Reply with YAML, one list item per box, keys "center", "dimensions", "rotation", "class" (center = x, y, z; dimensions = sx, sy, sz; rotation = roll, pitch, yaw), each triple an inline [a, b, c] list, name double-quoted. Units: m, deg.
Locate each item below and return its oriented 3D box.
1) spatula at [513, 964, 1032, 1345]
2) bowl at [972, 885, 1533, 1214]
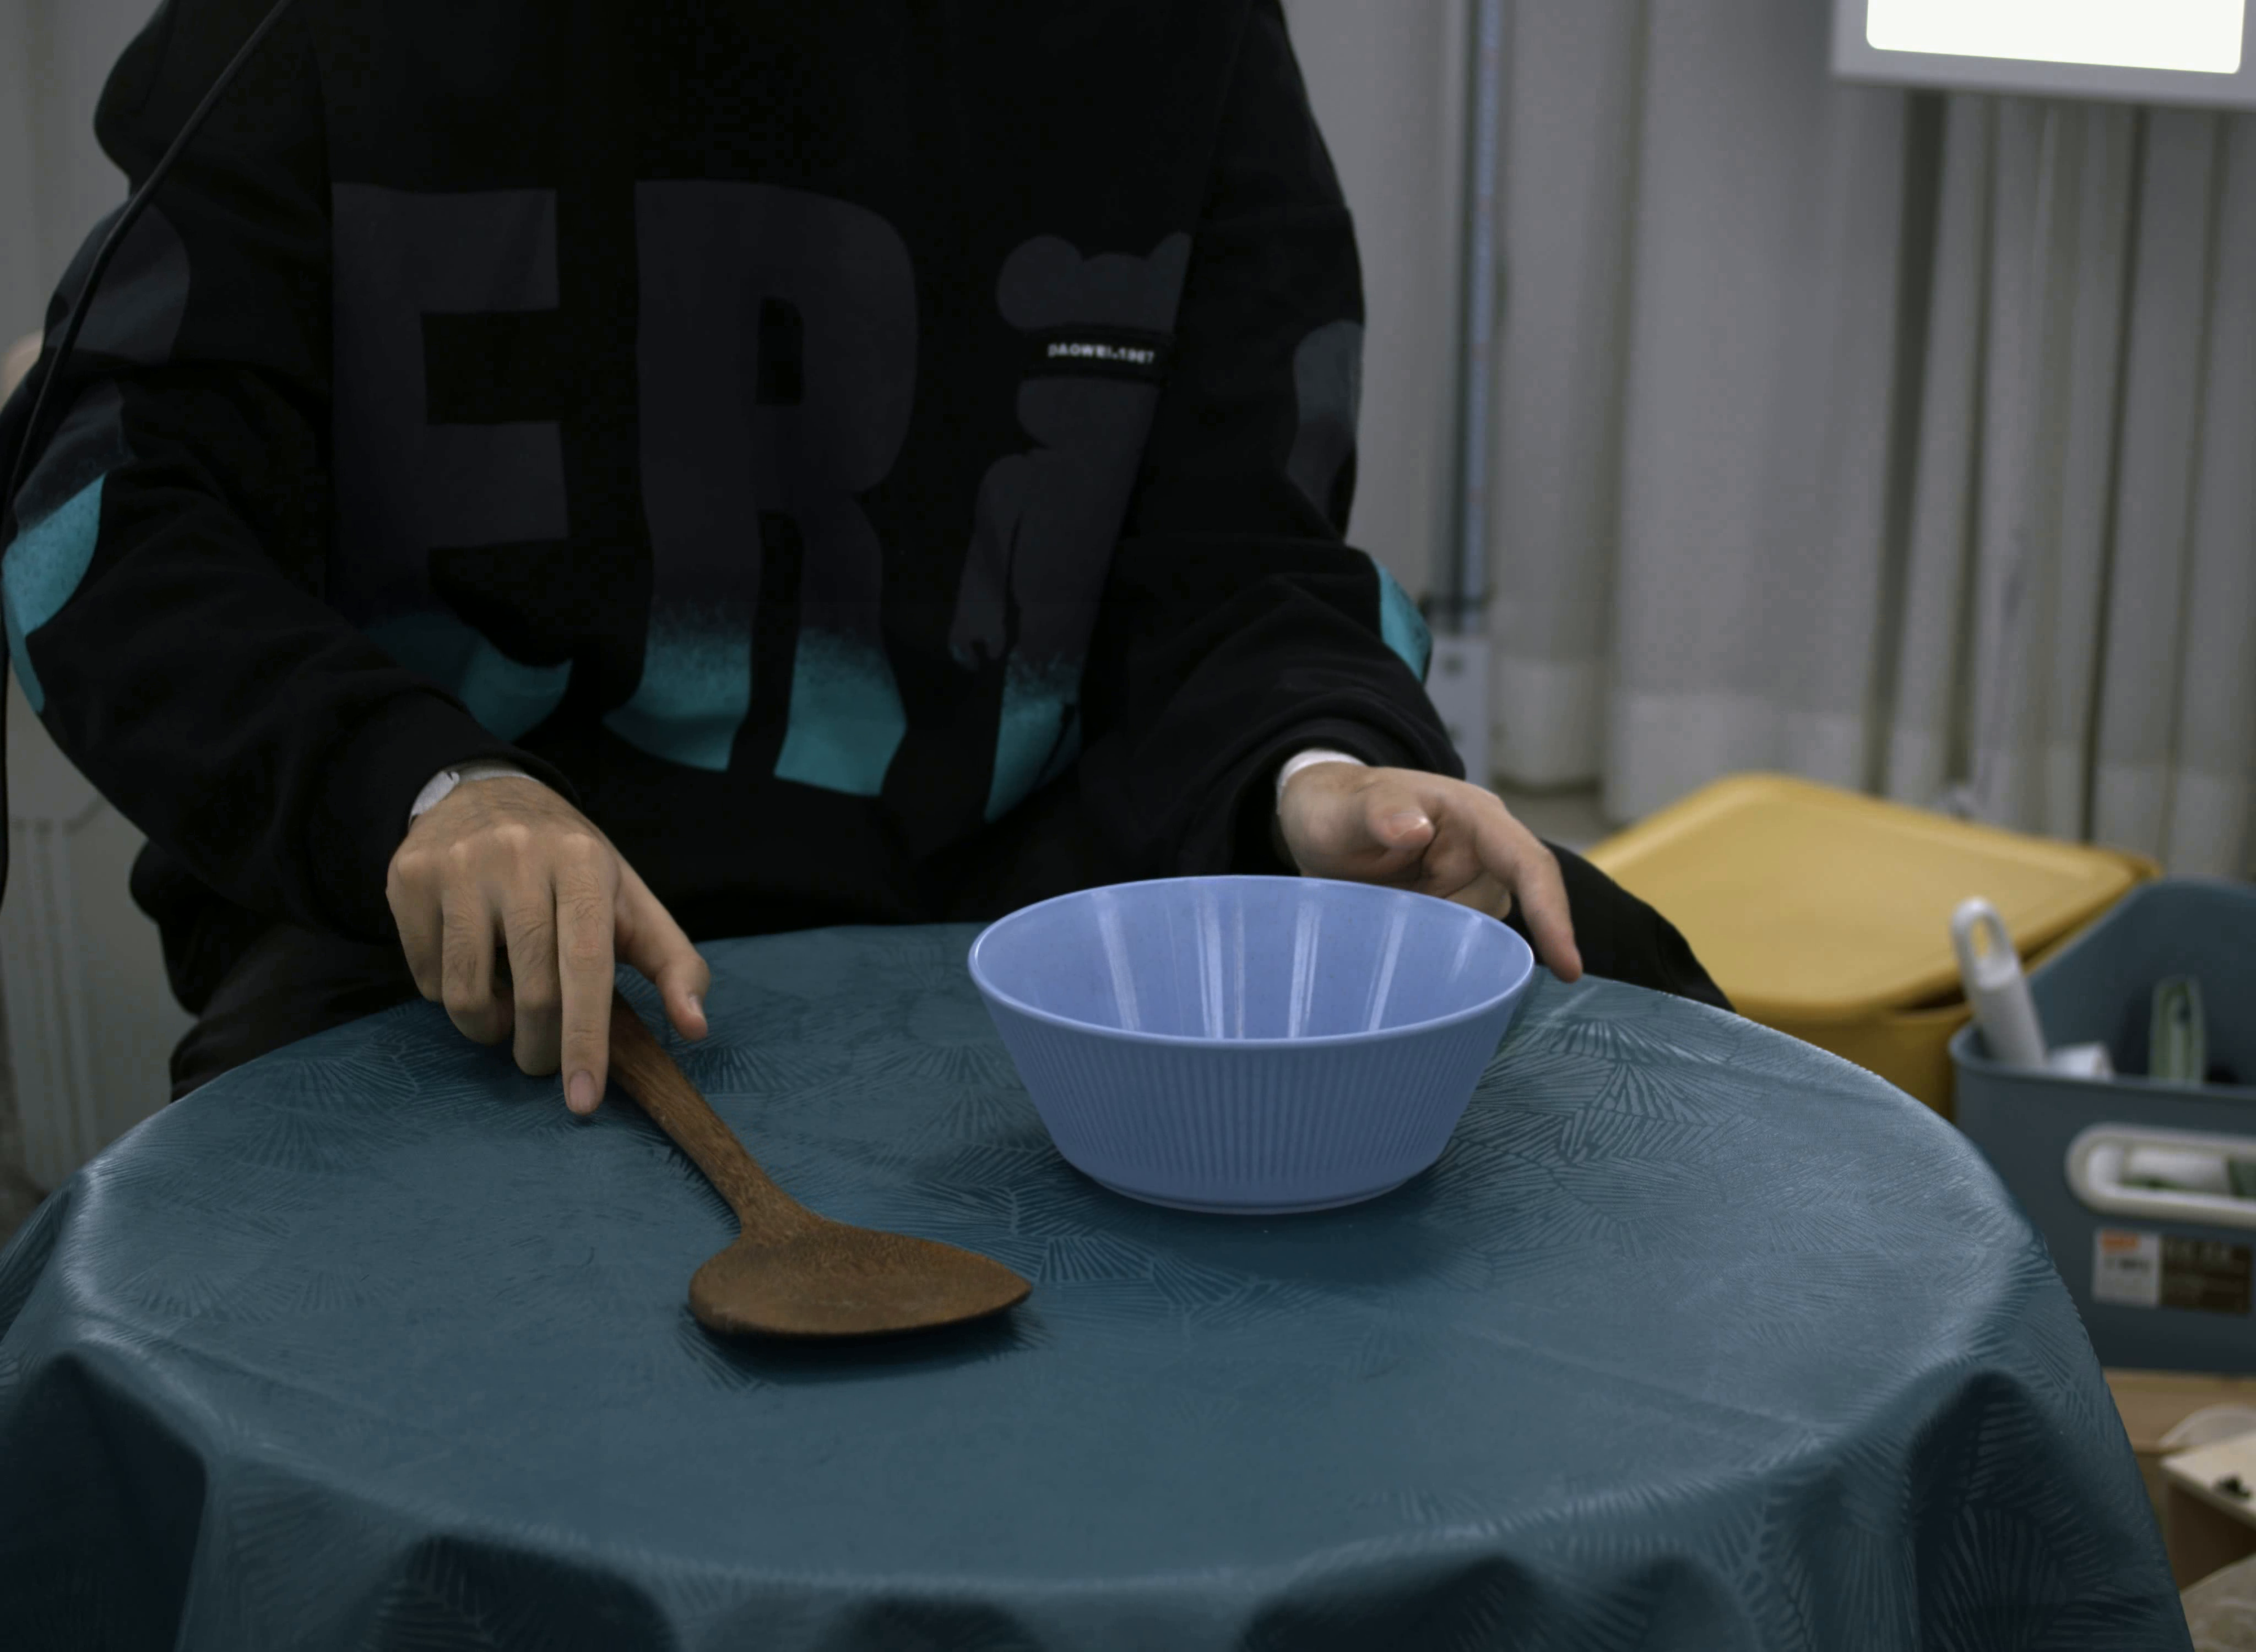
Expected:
- center: [-0.133, 0.097, 1.649]
  dimensions: [0.096, 0.016, 0.381]
  rotation: [-5, 17, -21]
  class: "spatula"
- center: [0.039, 0.072, 1.645]
  dimensions: [0.175, 0.071, 0.175]
  rotation: [0, 15, 0]
  class: "bowl"
